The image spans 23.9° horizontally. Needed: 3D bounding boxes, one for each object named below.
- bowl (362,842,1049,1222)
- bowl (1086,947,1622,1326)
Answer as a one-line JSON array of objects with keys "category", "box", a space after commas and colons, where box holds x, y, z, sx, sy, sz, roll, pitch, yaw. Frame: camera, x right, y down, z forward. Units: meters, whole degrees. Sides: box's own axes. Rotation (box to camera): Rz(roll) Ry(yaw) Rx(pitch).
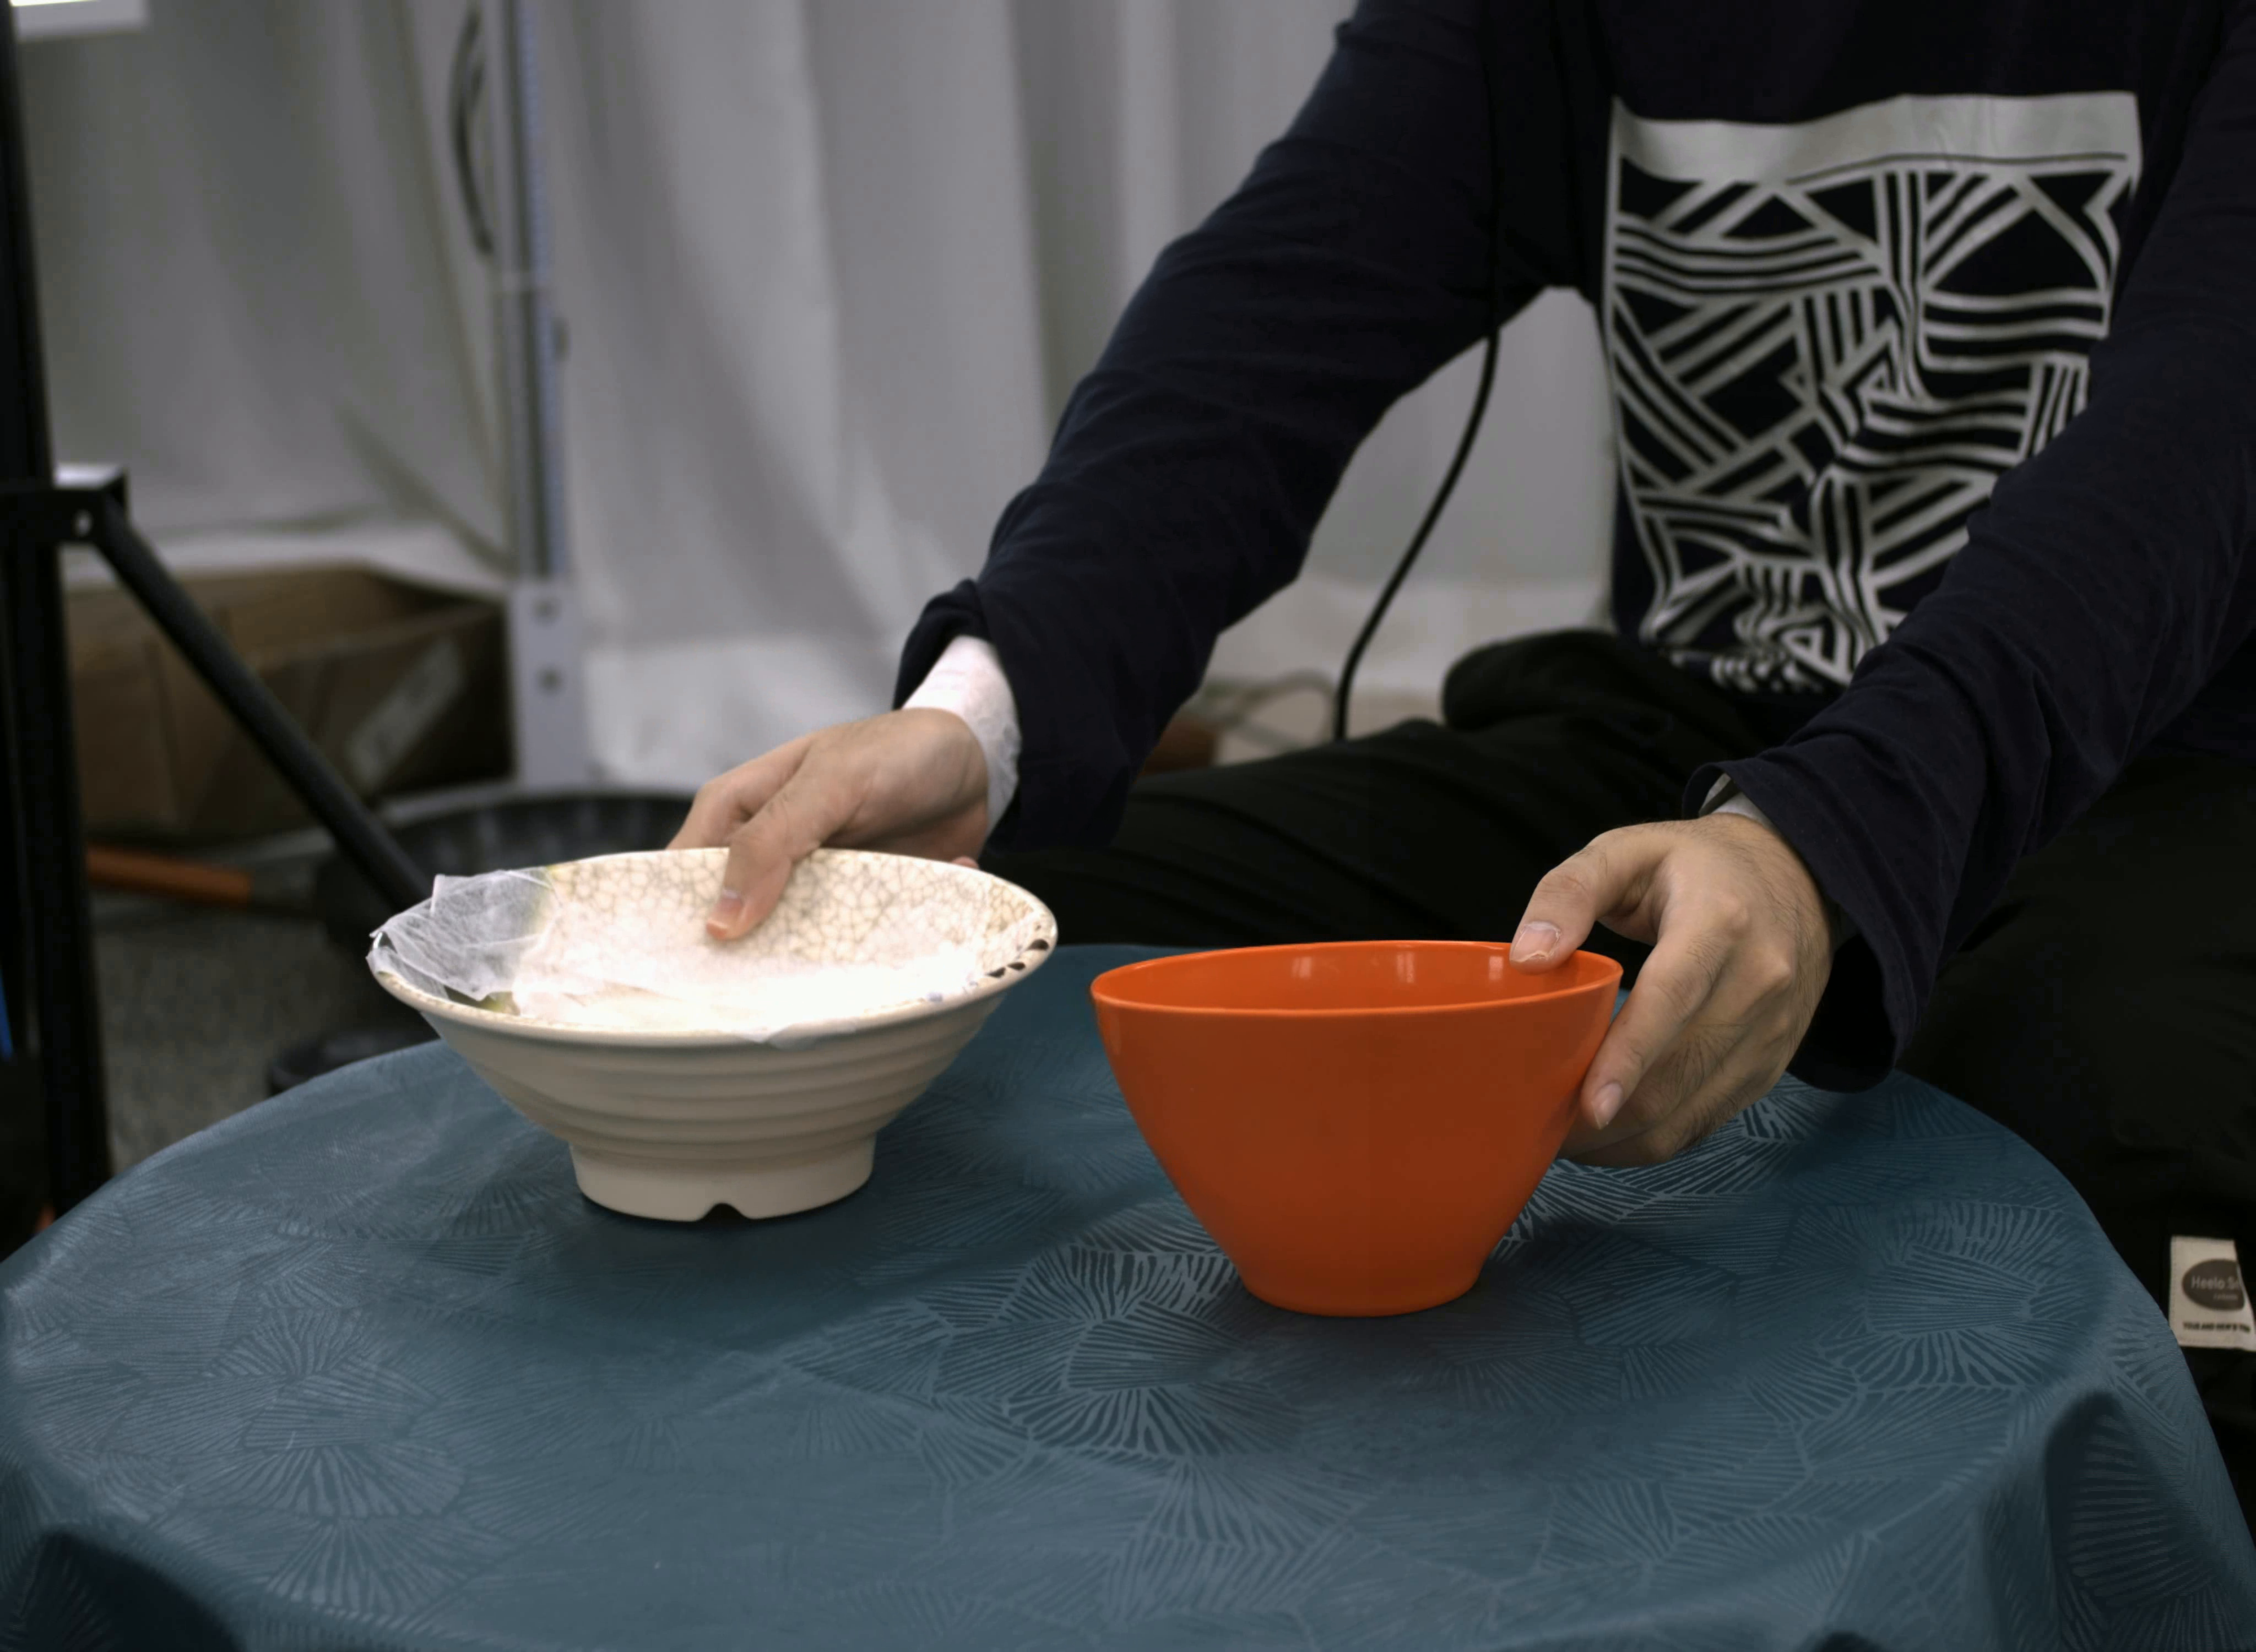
[{"category": "bowl", "box": [-0.124, 0.067, 1.581, 0.203, 0.078, 0.205, -2, 14, -1]}, {"category": "bowl", "box": [0.063, 0.082, 1.461, 0.147, 0.105, 0.149, -2, 14, -1]}]
